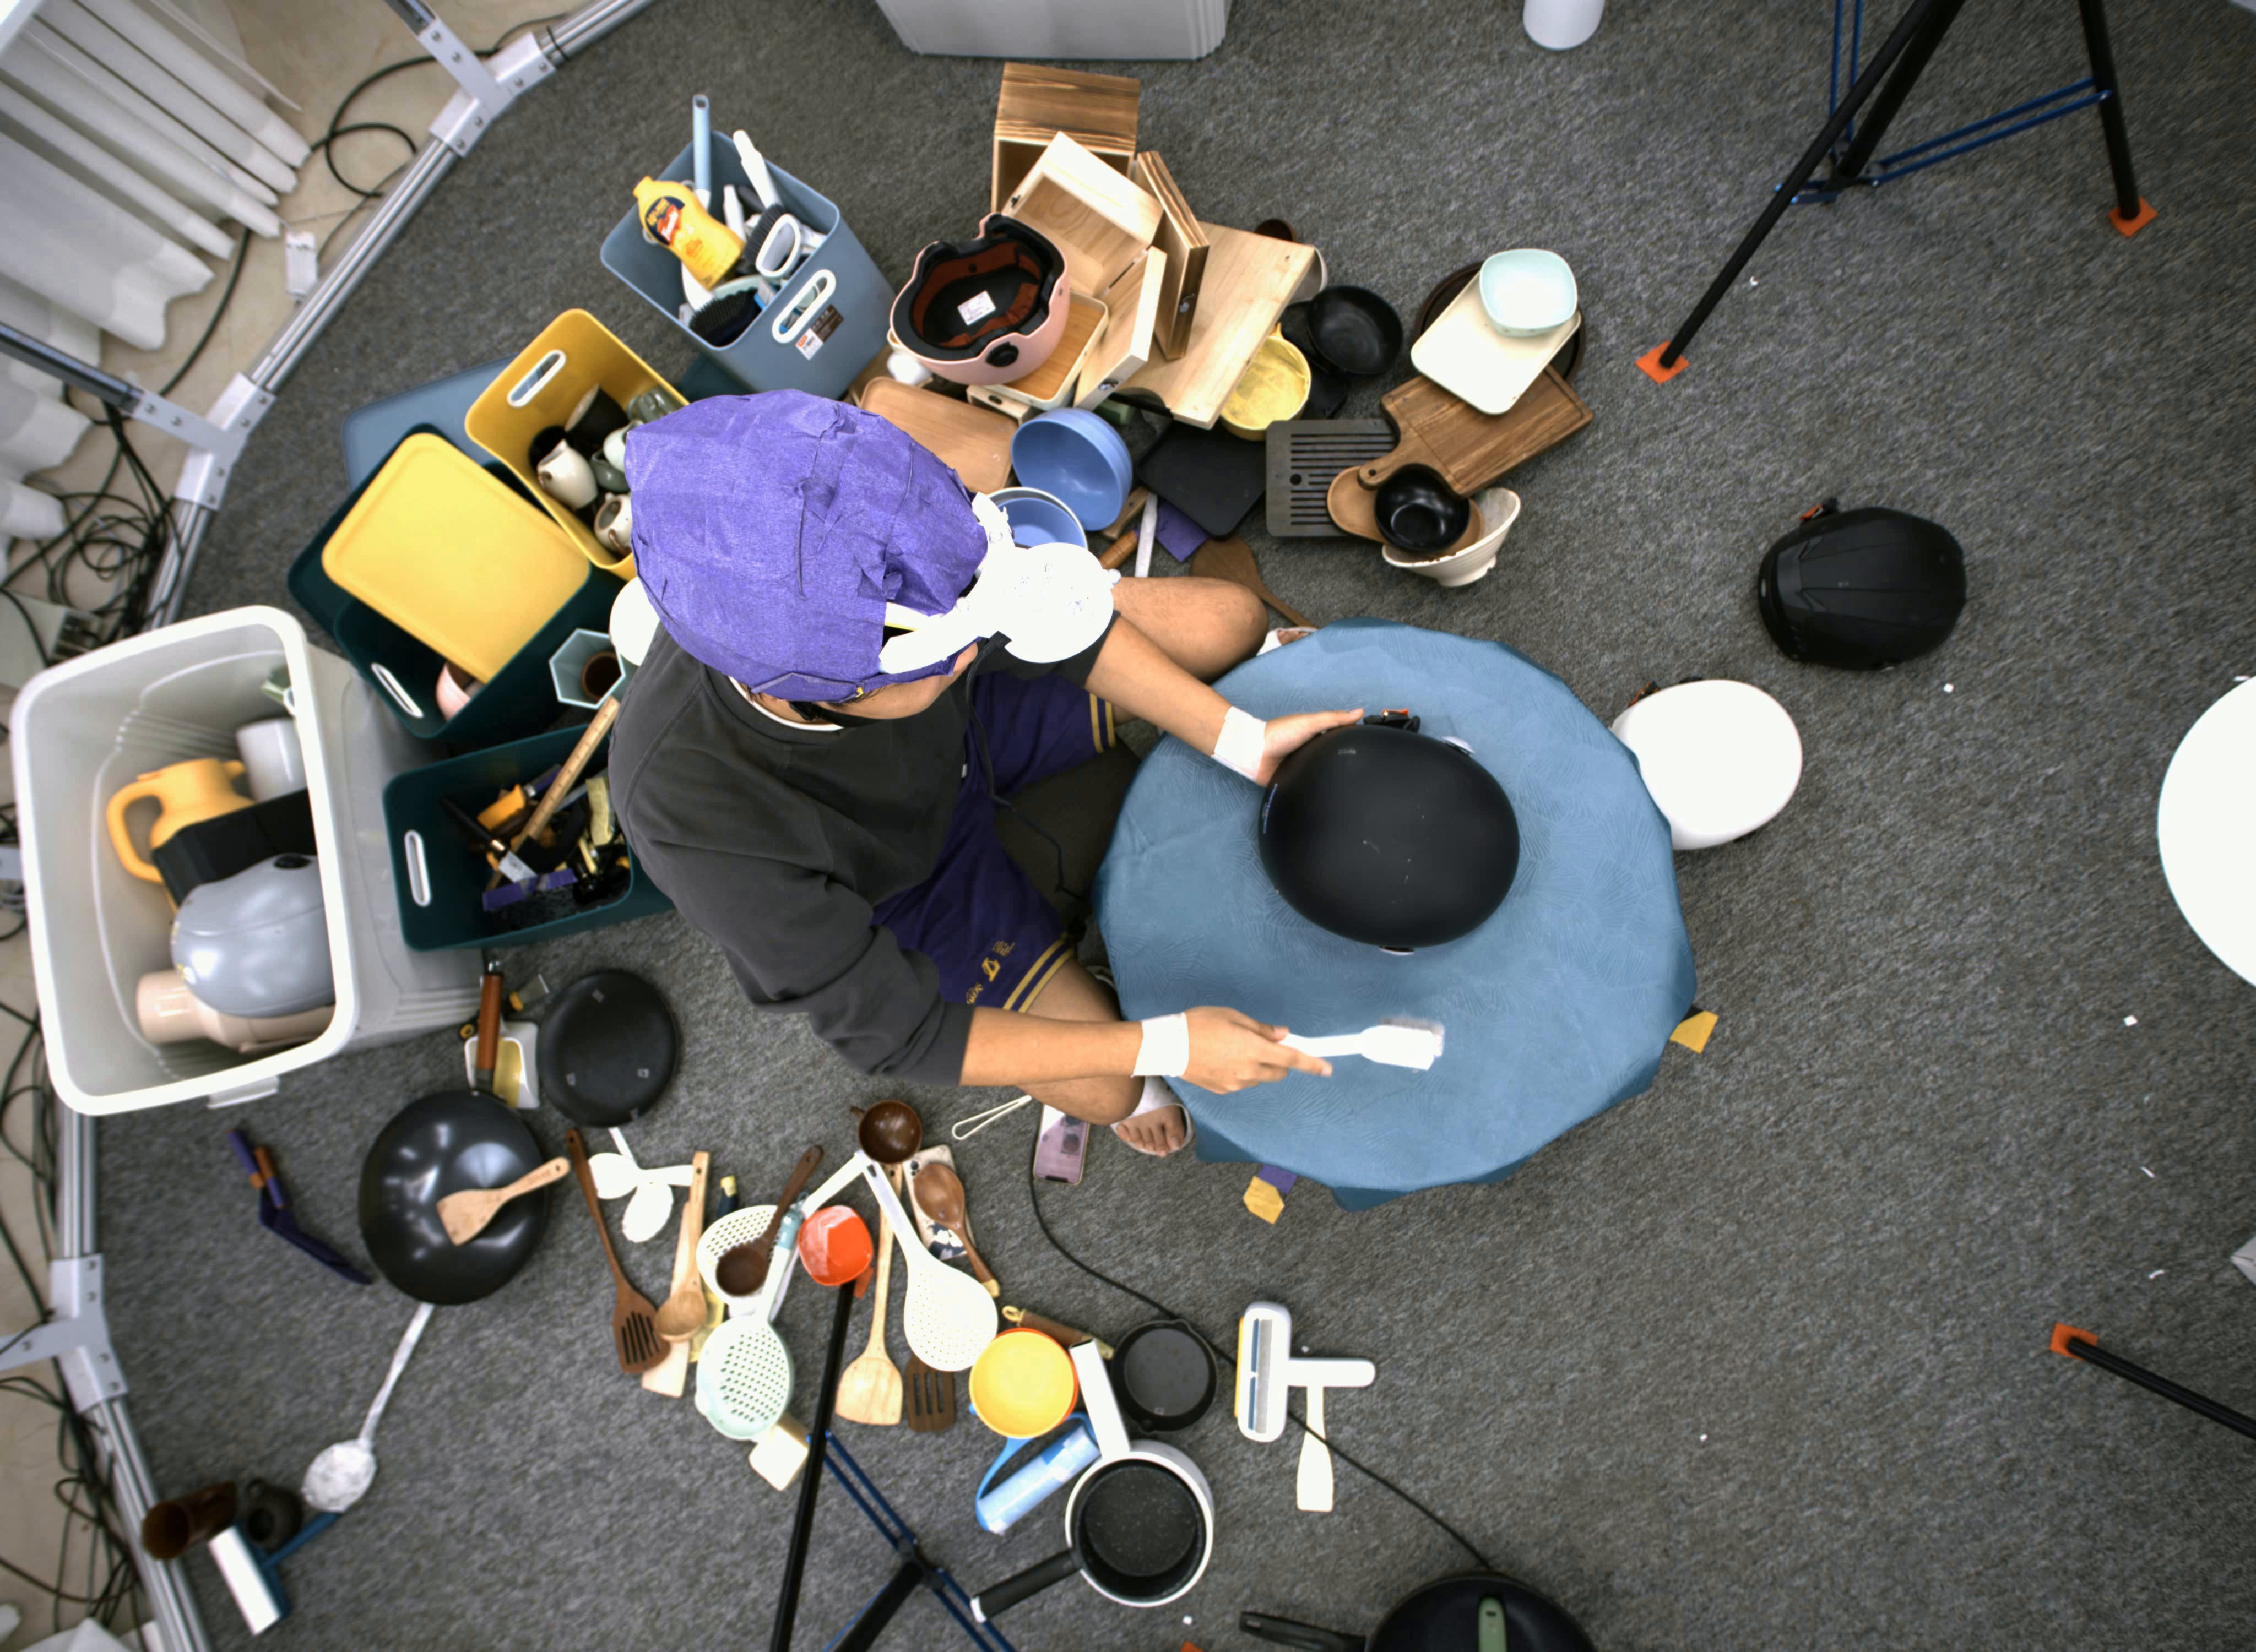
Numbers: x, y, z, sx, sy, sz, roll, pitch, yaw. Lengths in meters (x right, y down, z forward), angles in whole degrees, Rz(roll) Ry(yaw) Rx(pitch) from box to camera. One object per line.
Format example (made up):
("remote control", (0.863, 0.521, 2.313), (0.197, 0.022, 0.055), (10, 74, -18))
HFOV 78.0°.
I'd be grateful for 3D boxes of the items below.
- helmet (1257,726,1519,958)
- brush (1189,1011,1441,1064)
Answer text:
("helmet", (0.261, 0.015, 1.377), (0.273, 0.165, 0.232), (19, 98, 8))
("brush", (0.183, 0.207, 1.357), (0.245, 0.049, 0.035), (-5, 109, 15))
